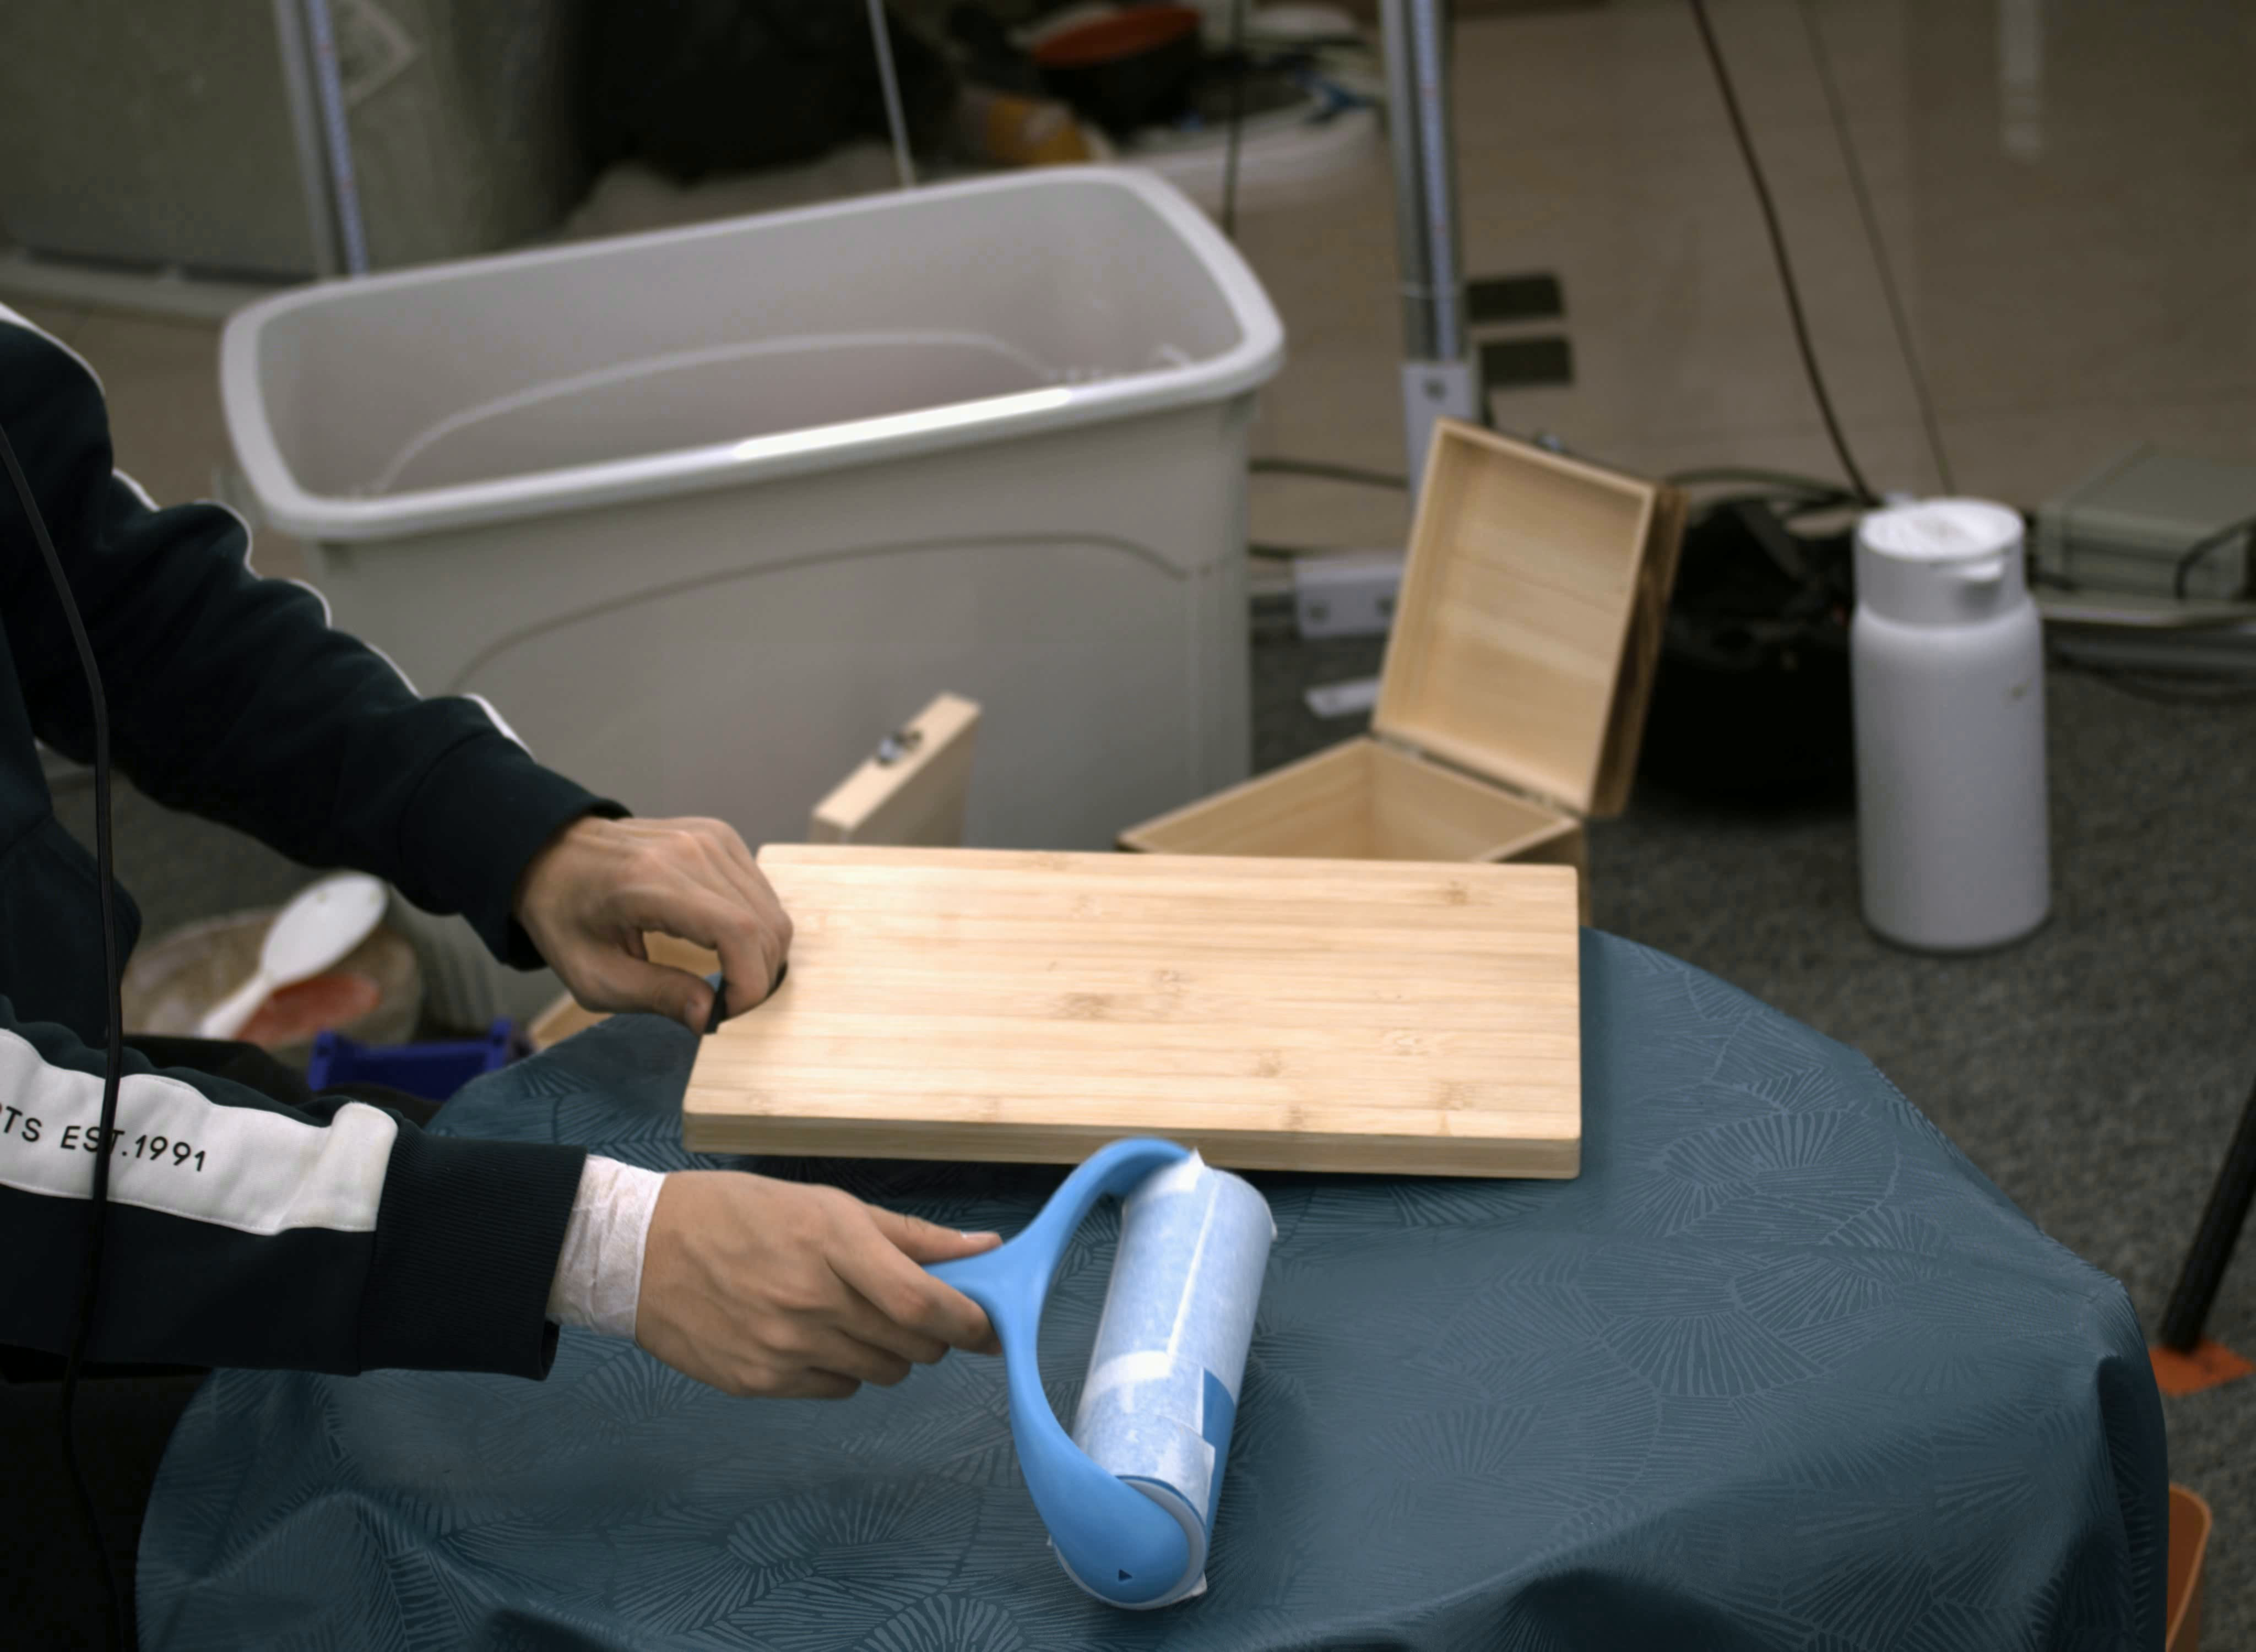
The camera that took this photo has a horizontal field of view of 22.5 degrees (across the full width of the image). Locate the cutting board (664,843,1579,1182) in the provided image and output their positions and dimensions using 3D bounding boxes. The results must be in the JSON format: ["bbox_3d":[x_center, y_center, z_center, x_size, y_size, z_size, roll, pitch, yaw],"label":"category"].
[{"bbox_3d":[0.005,0.070,2.232,0.348,0.024,0.247,1,25,3],"label":"cutting board"}]

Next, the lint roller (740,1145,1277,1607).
[{"bbox_3d":[-0.043,0.182,1.954,0.180,0.069,0.225,7,31,1],"label":"lint roller"}]
